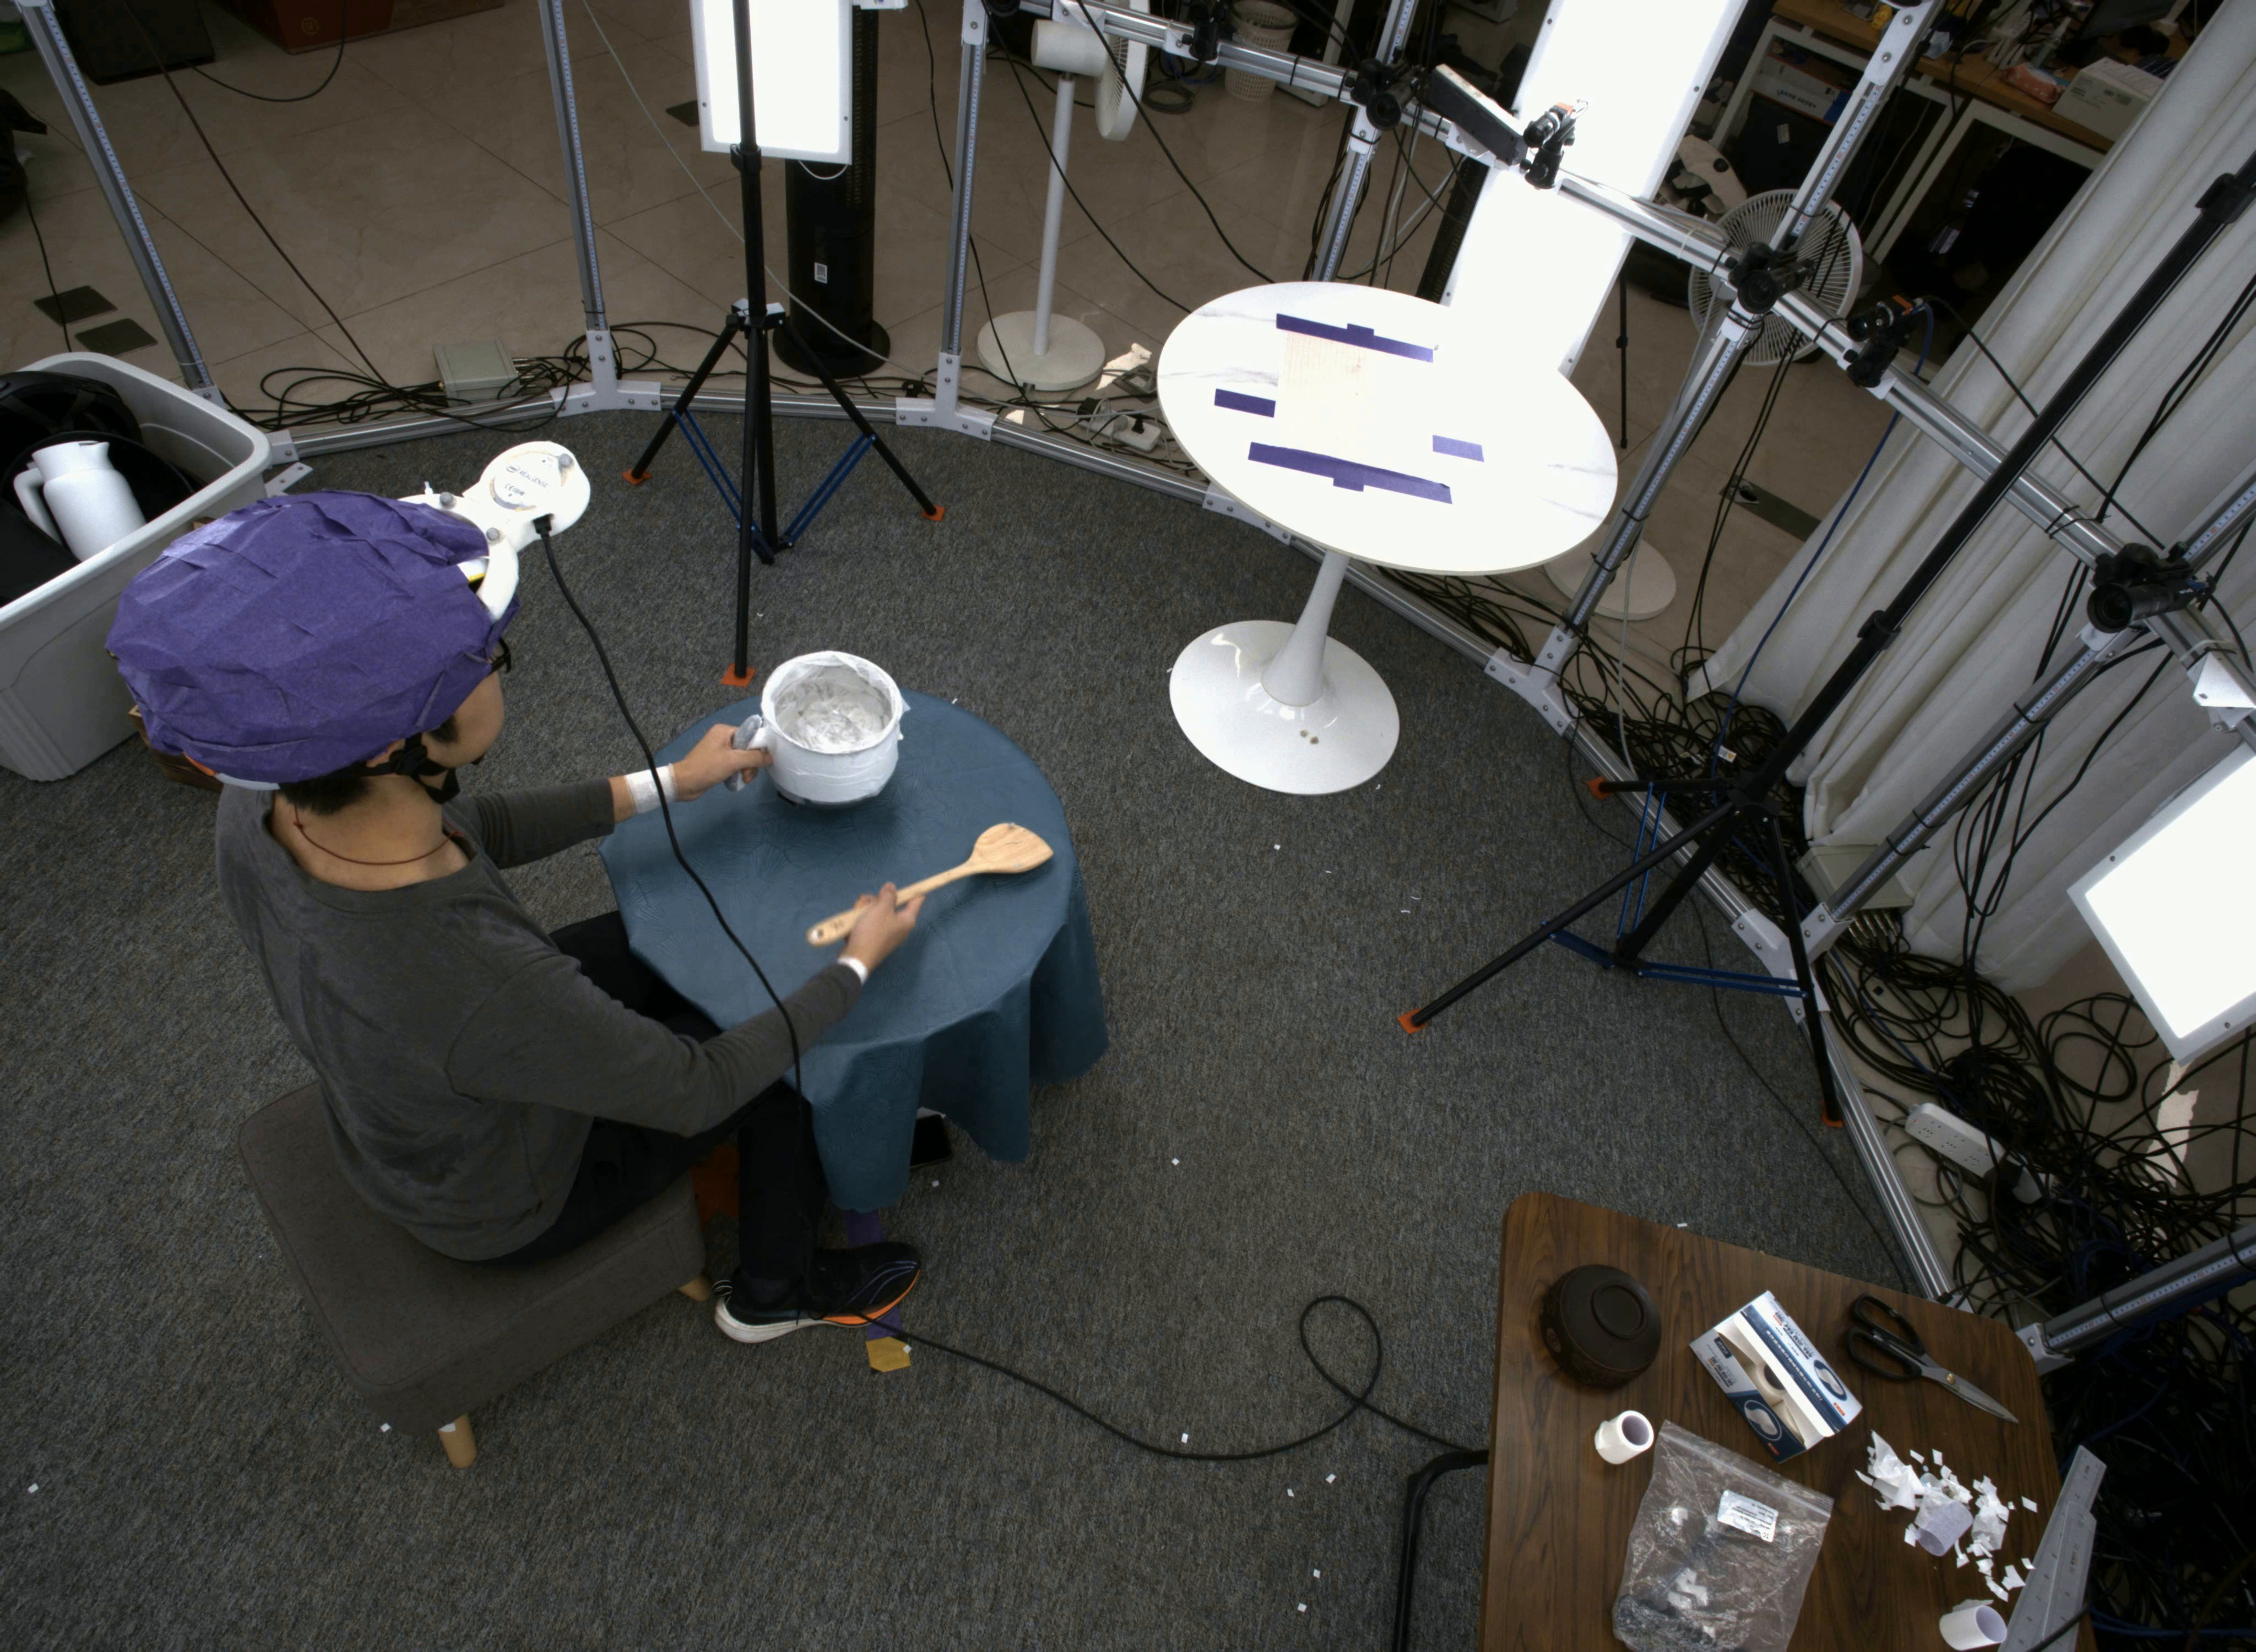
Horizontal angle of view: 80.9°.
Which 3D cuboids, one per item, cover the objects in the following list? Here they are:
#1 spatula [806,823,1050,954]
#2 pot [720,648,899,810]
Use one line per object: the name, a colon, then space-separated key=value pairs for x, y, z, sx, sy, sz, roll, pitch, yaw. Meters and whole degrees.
spatula: x=-0.250 y=0.080 z=1.651 sx=0.093 sy=0.019 sz=0.393 roll=34 pitch=36 yaw=23
pot: x=-0.417 y=-0.115 z=1.690 sx=0.235 sy=0.139 sz=0.174 roll=-20 pitch=61 yaw=-29
